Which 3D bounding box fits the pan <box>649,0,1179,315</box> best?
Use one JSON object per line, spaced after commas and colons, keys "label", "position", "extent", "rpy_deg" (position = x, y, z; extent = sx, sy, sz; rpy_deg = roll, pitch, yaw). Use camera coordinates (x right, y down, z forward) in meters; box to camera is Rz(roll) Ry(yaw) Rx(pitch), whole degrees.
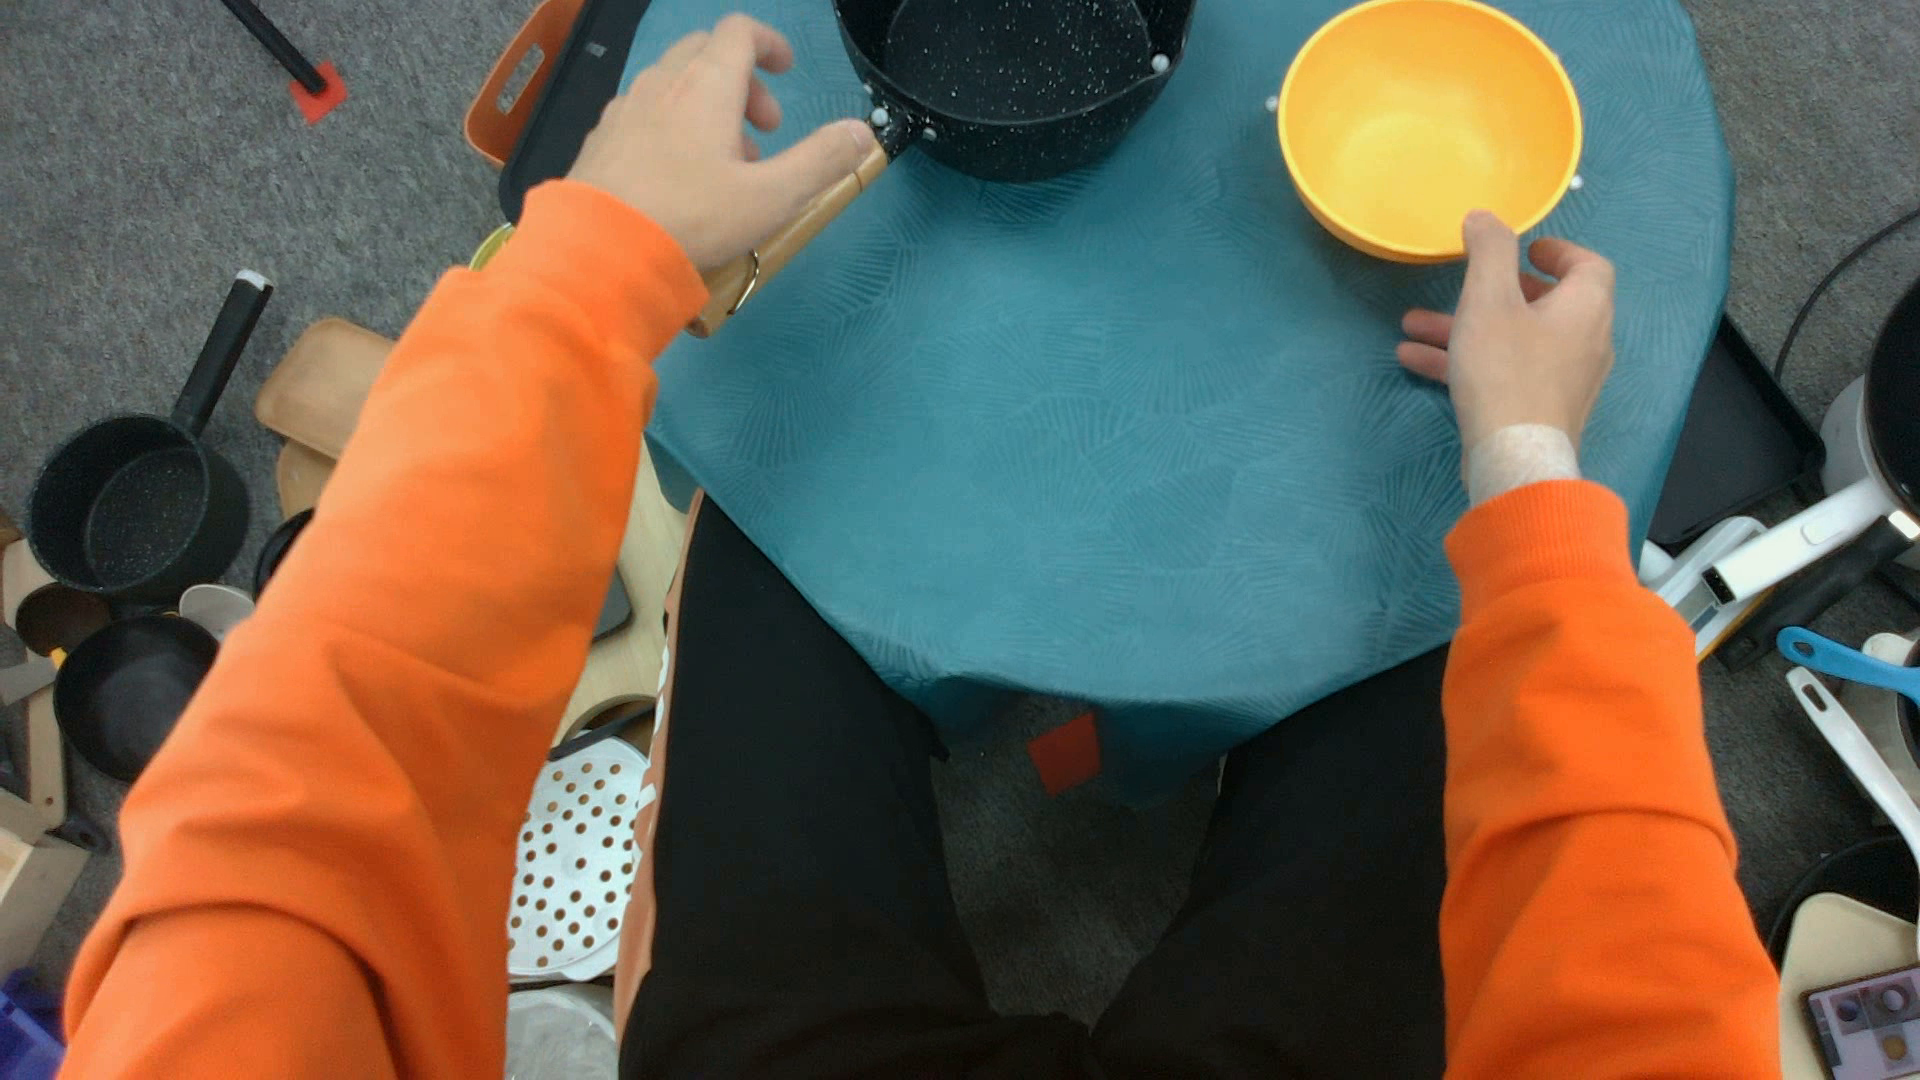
{"label": "pan", "position": [-0.026, -0.225, 0.695], "extent": [0.207, 0.108, 0.343], "rpy_deg": [35, 78, 10]}

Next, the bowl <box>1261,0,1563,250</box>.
{"label": "bowl", "position": [0.224, -0.204, 0.704], "extent": [0.145, 0.060, 0.145], "rpy_deg": [-1, 74, 4]}
